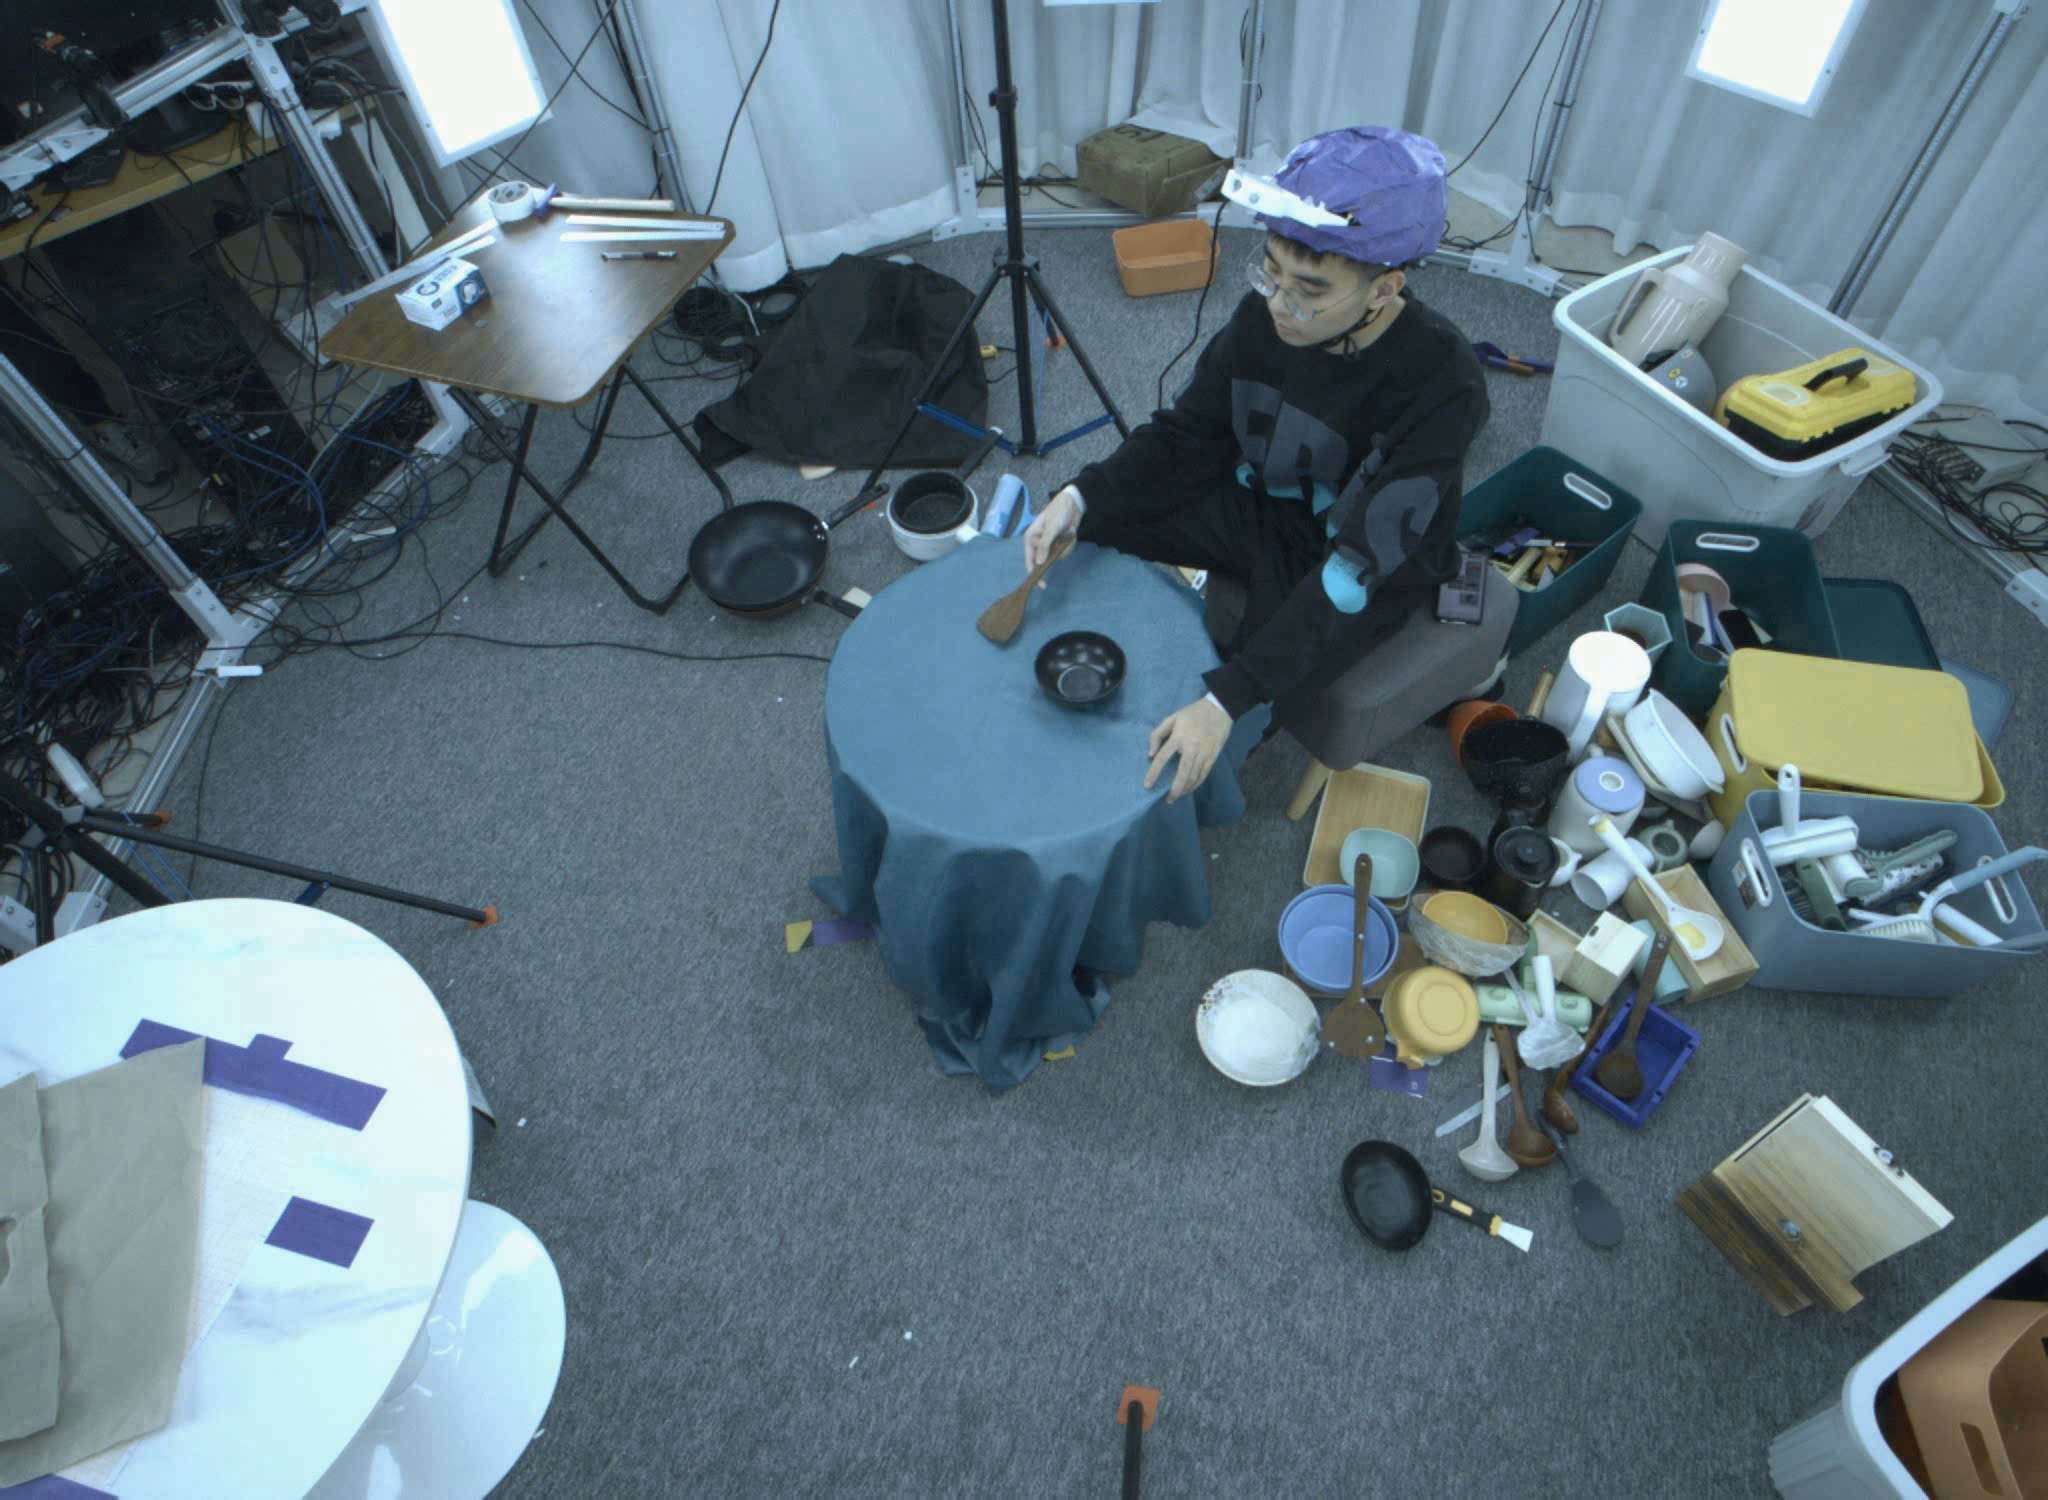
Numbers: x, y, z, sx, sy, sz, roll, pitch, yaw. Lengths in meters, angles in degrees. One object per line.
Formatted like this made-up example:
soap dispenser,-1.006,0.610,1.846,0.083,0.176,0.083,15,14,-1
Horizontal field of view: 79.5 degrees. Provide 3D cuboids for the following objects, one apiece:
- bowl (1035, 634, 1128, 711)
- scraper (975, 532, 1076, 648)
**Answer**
bowl,0.087,-0.107,1.840,0.140,0.050,0.138,-2,53,3
scraper,0.008,-0.253,1.908,0.074,0.011,0.211,41,94,33
